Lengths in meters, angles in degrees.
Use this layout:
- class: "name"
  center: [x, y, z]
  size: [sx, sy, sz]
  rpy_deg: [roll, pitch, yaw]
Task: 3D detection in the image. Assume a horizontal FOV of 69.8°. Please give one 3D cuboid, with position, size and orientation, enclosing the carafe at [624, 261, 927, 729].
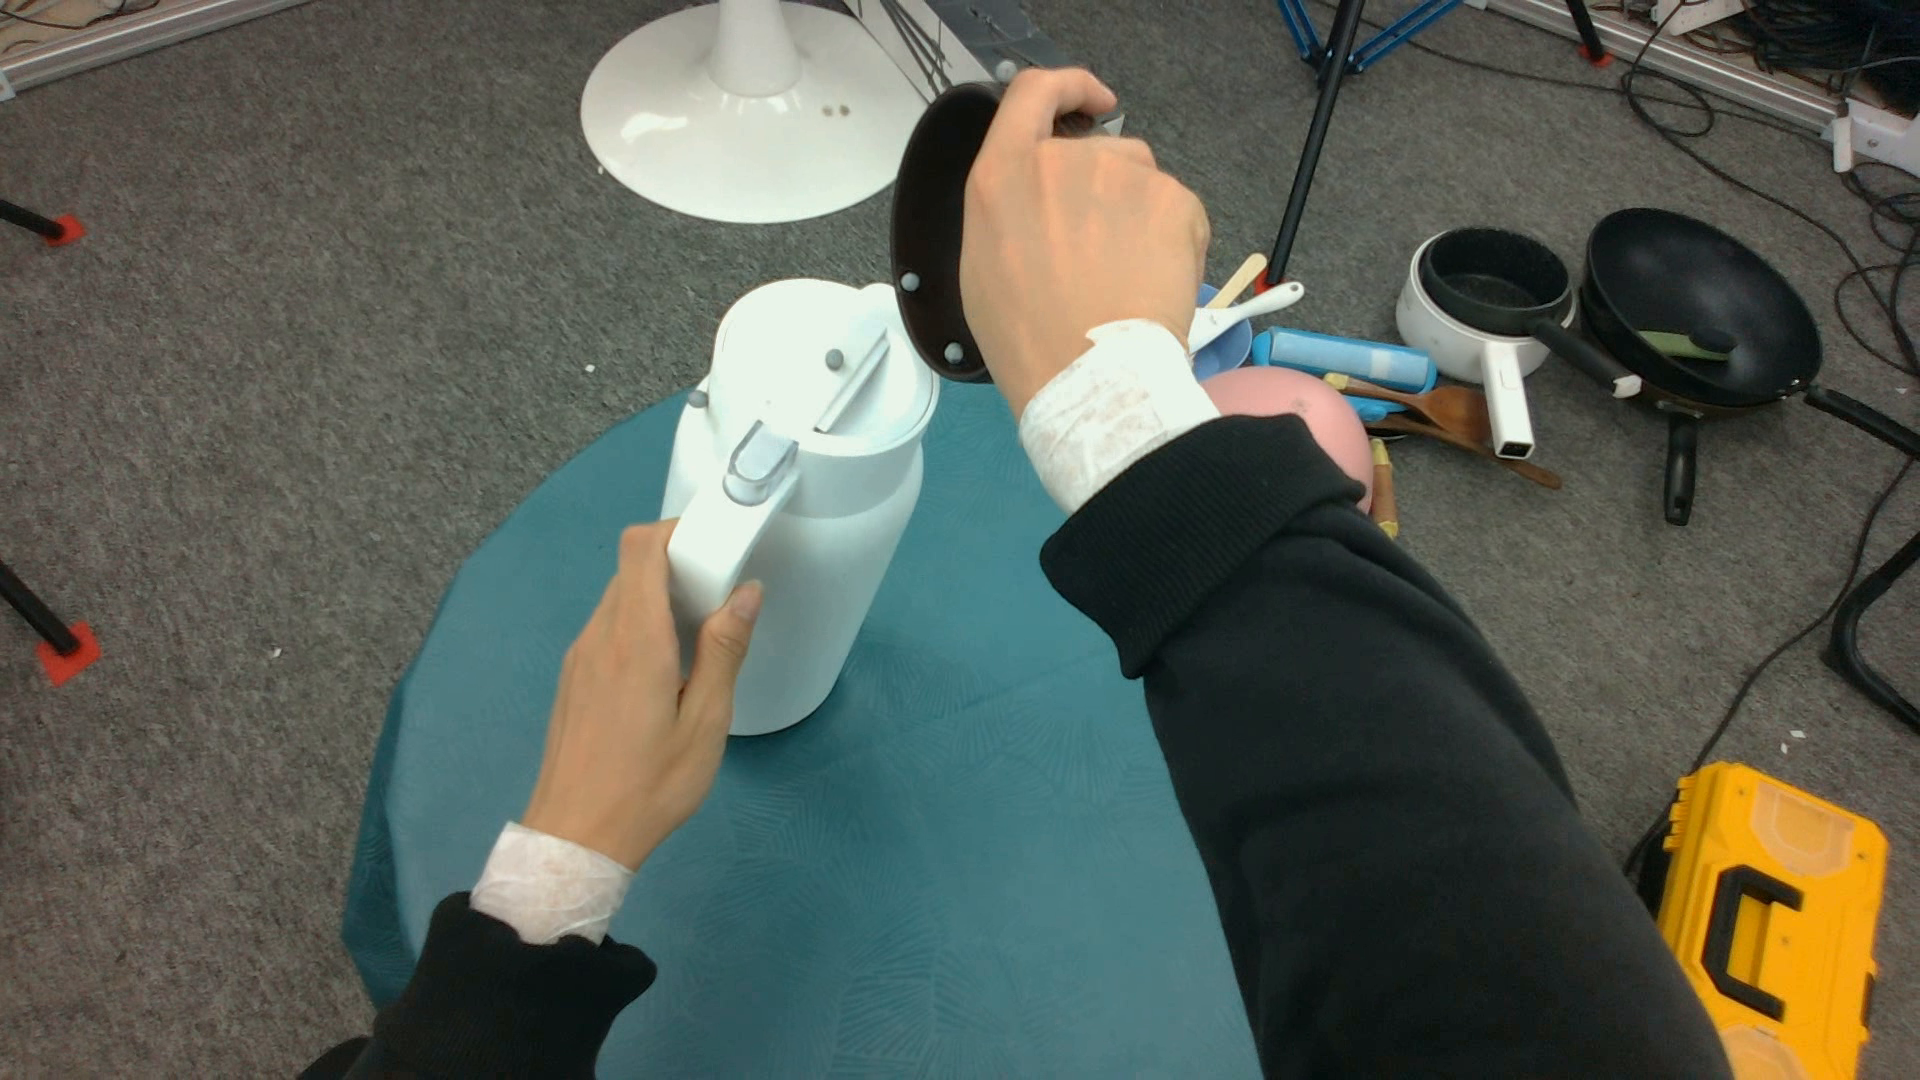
- class: "carafe"
  center: [-0.104, 0.002, 0.685]
  size: [0.124, 0.267, 0.174]
  rpy_deg: [29, 53, -2]

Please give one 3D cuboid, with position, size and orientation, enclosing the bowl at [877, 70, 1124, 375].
- class: "bowl"
  center: [0.022, -0.127, 0.558]
  size: [0.070, 0.117, 0.118]
  rpy_deg: [-5, 53, -31]
